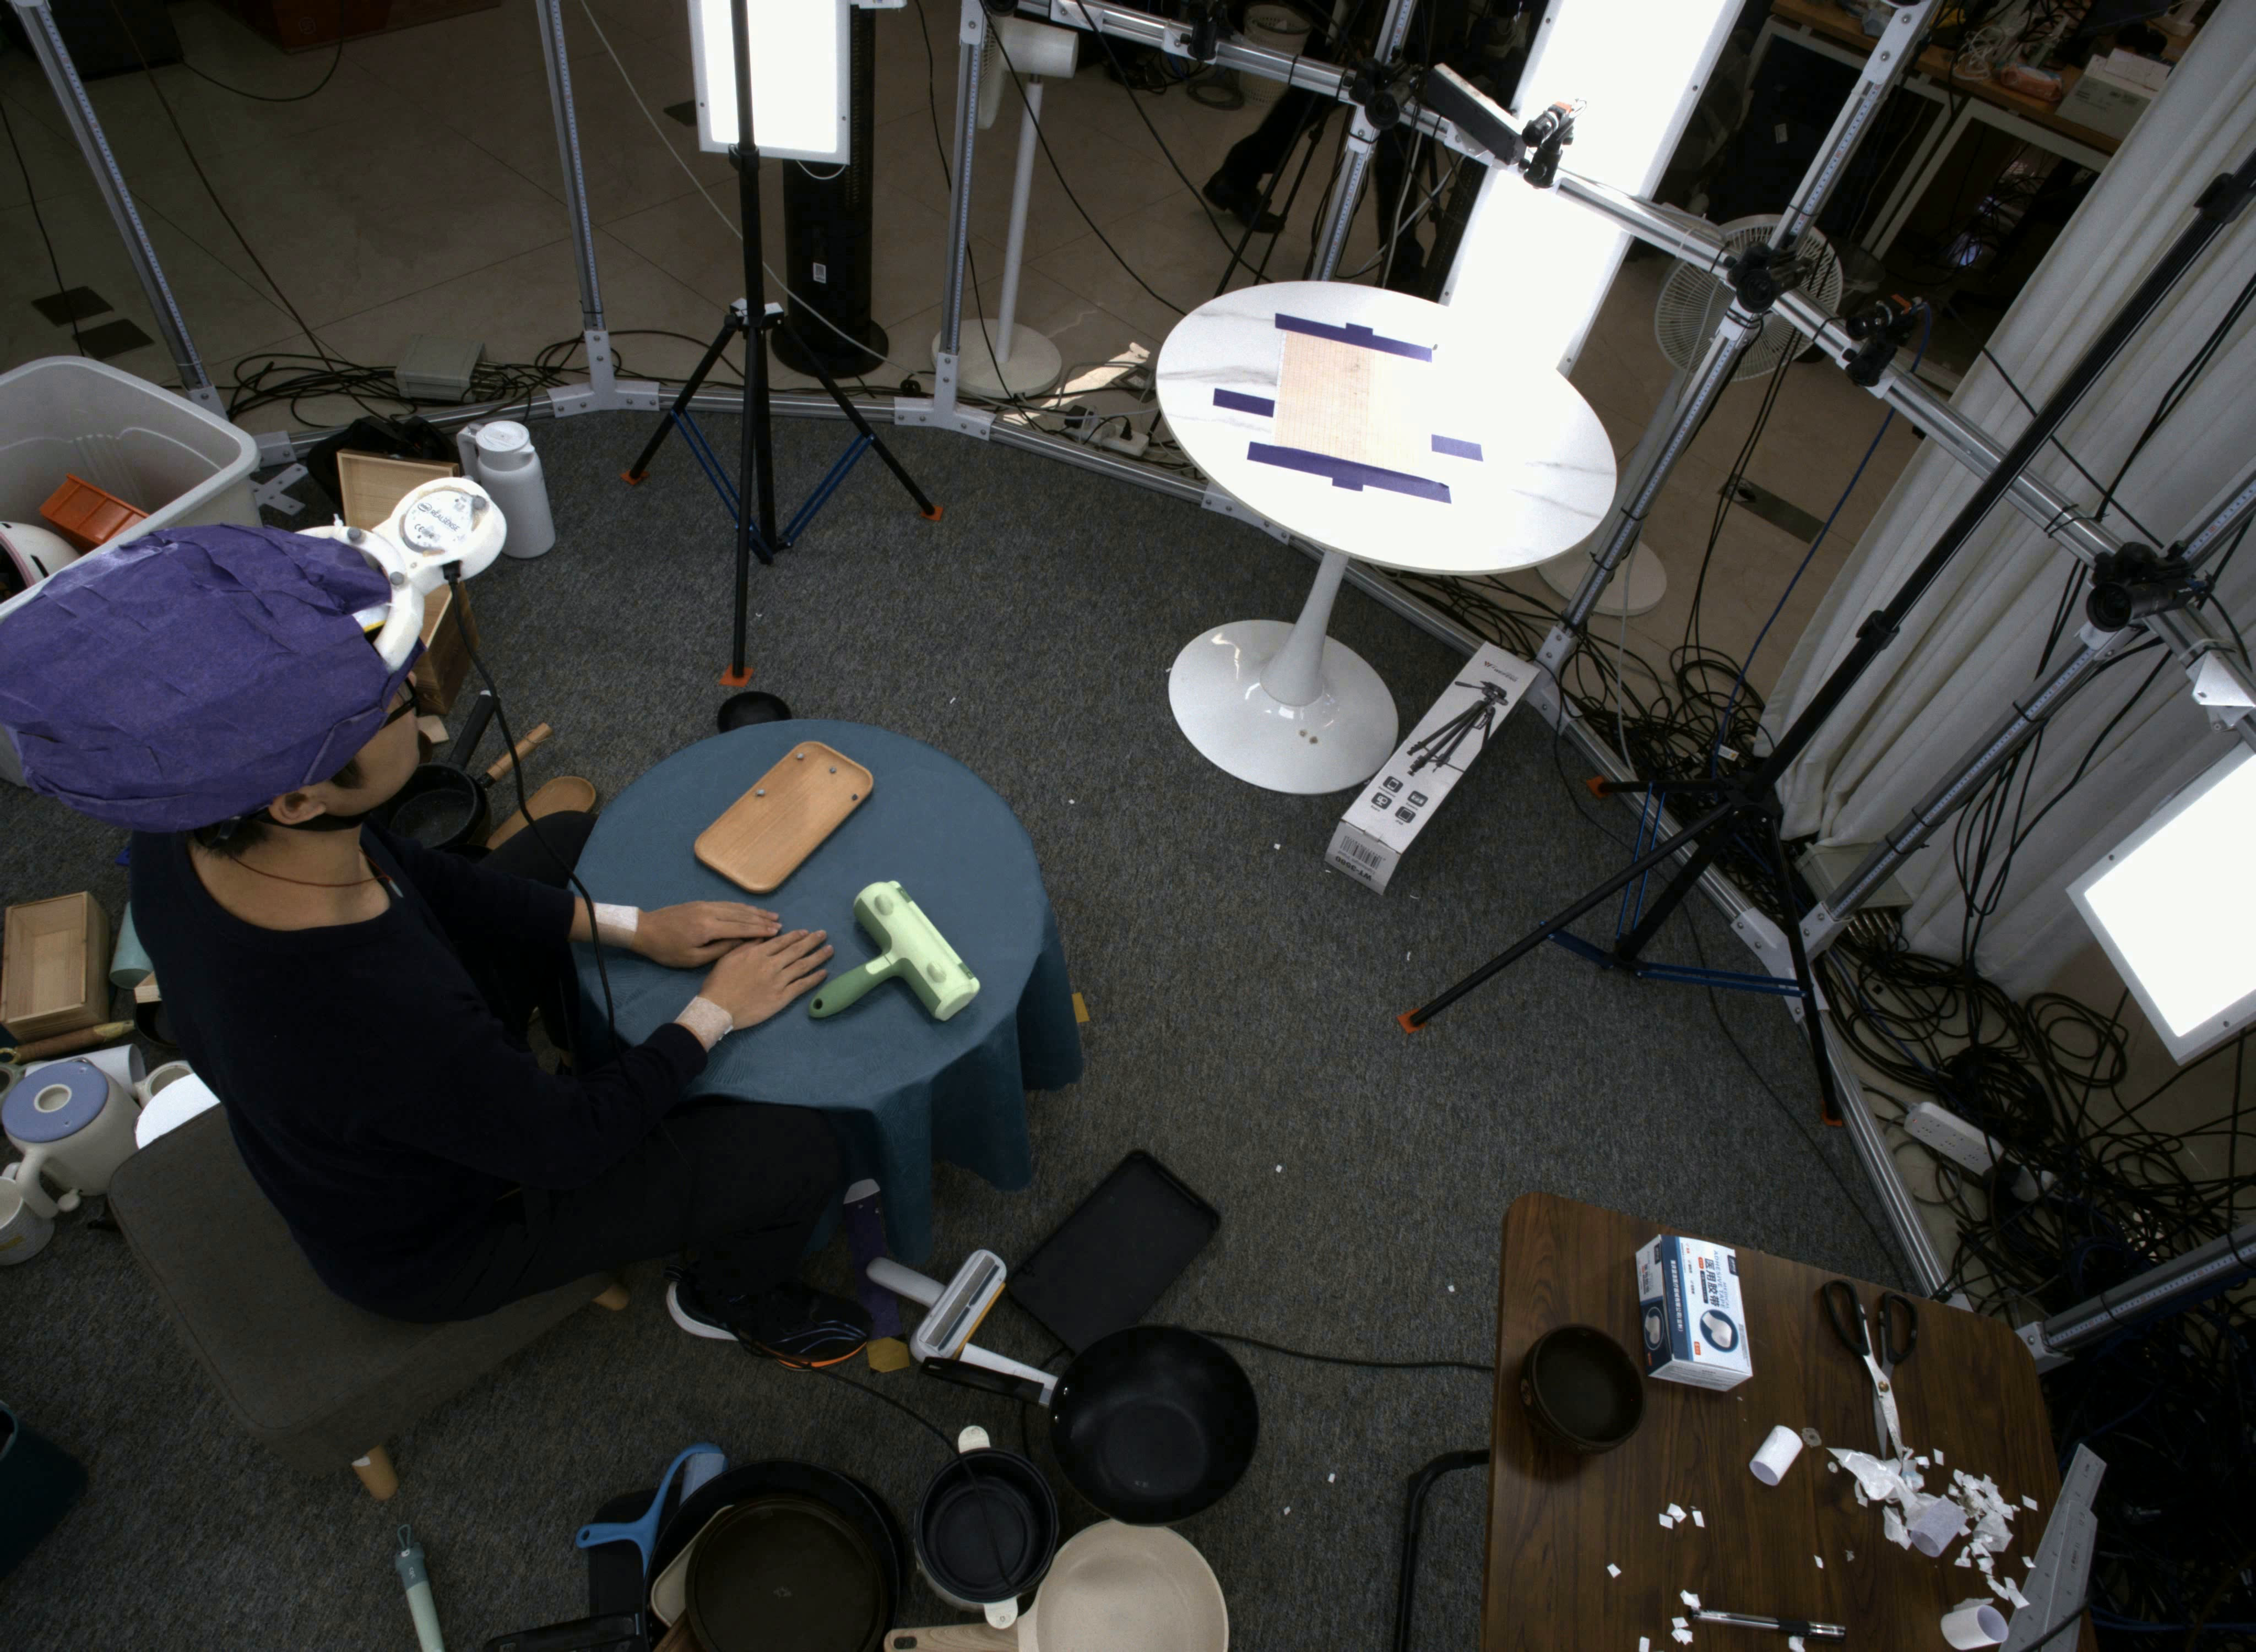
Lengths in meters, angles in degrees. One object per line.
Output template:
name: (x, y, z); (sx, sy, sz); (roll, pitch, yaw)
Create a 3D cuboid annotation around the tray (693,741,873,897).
tray: (-0.452, -0.014, 1.706); (0.128, 0.023, 0.250); (29, 53, 11)

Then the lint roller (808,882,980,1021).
lint roller: (-0.304, 0.165, 1.565); (0.184, 0.084, 0.194); (-27, 63, -37)
